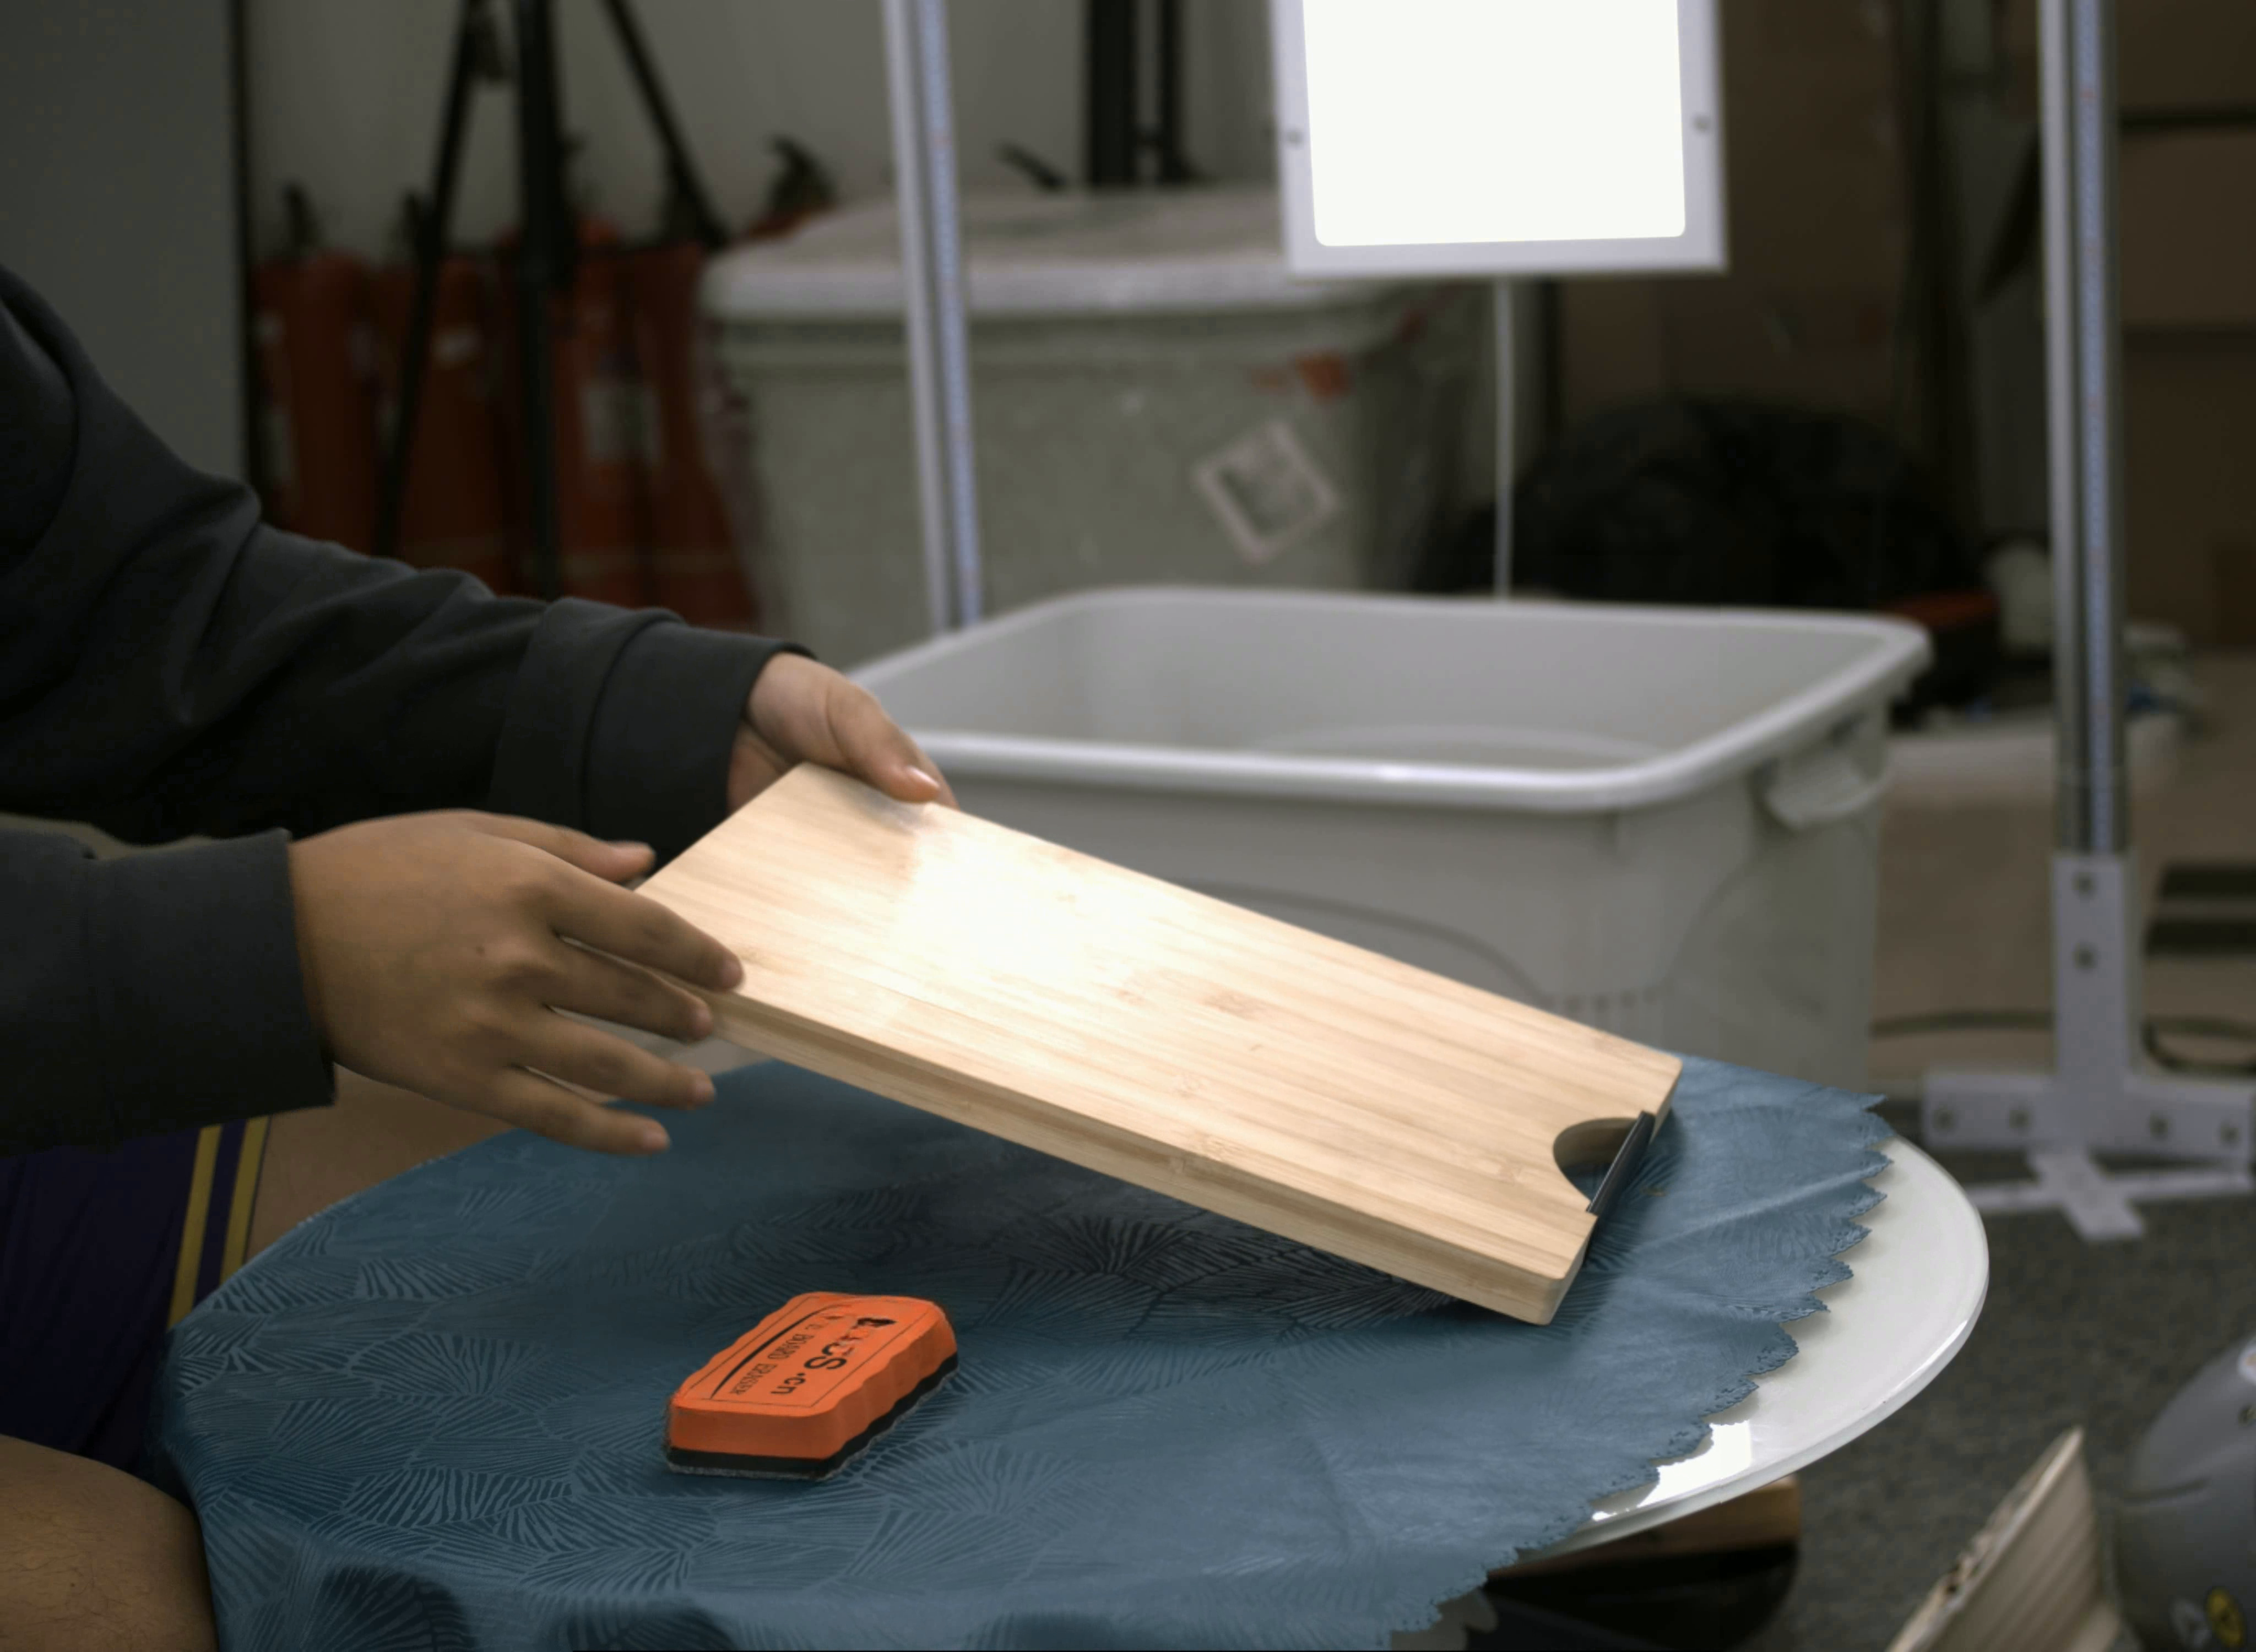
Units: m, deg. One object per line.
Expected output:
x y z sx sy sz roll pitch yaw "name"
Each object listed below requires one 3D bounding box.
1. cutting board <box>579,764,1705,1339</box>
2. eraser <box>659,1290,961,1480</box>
0.012 0.068 1.863 0.350 0.024 0.247 19 19 11 "cutting board"
-0.097 0.171 1.697 0.060 0.023 0.106 2 15 24 "eraser"
